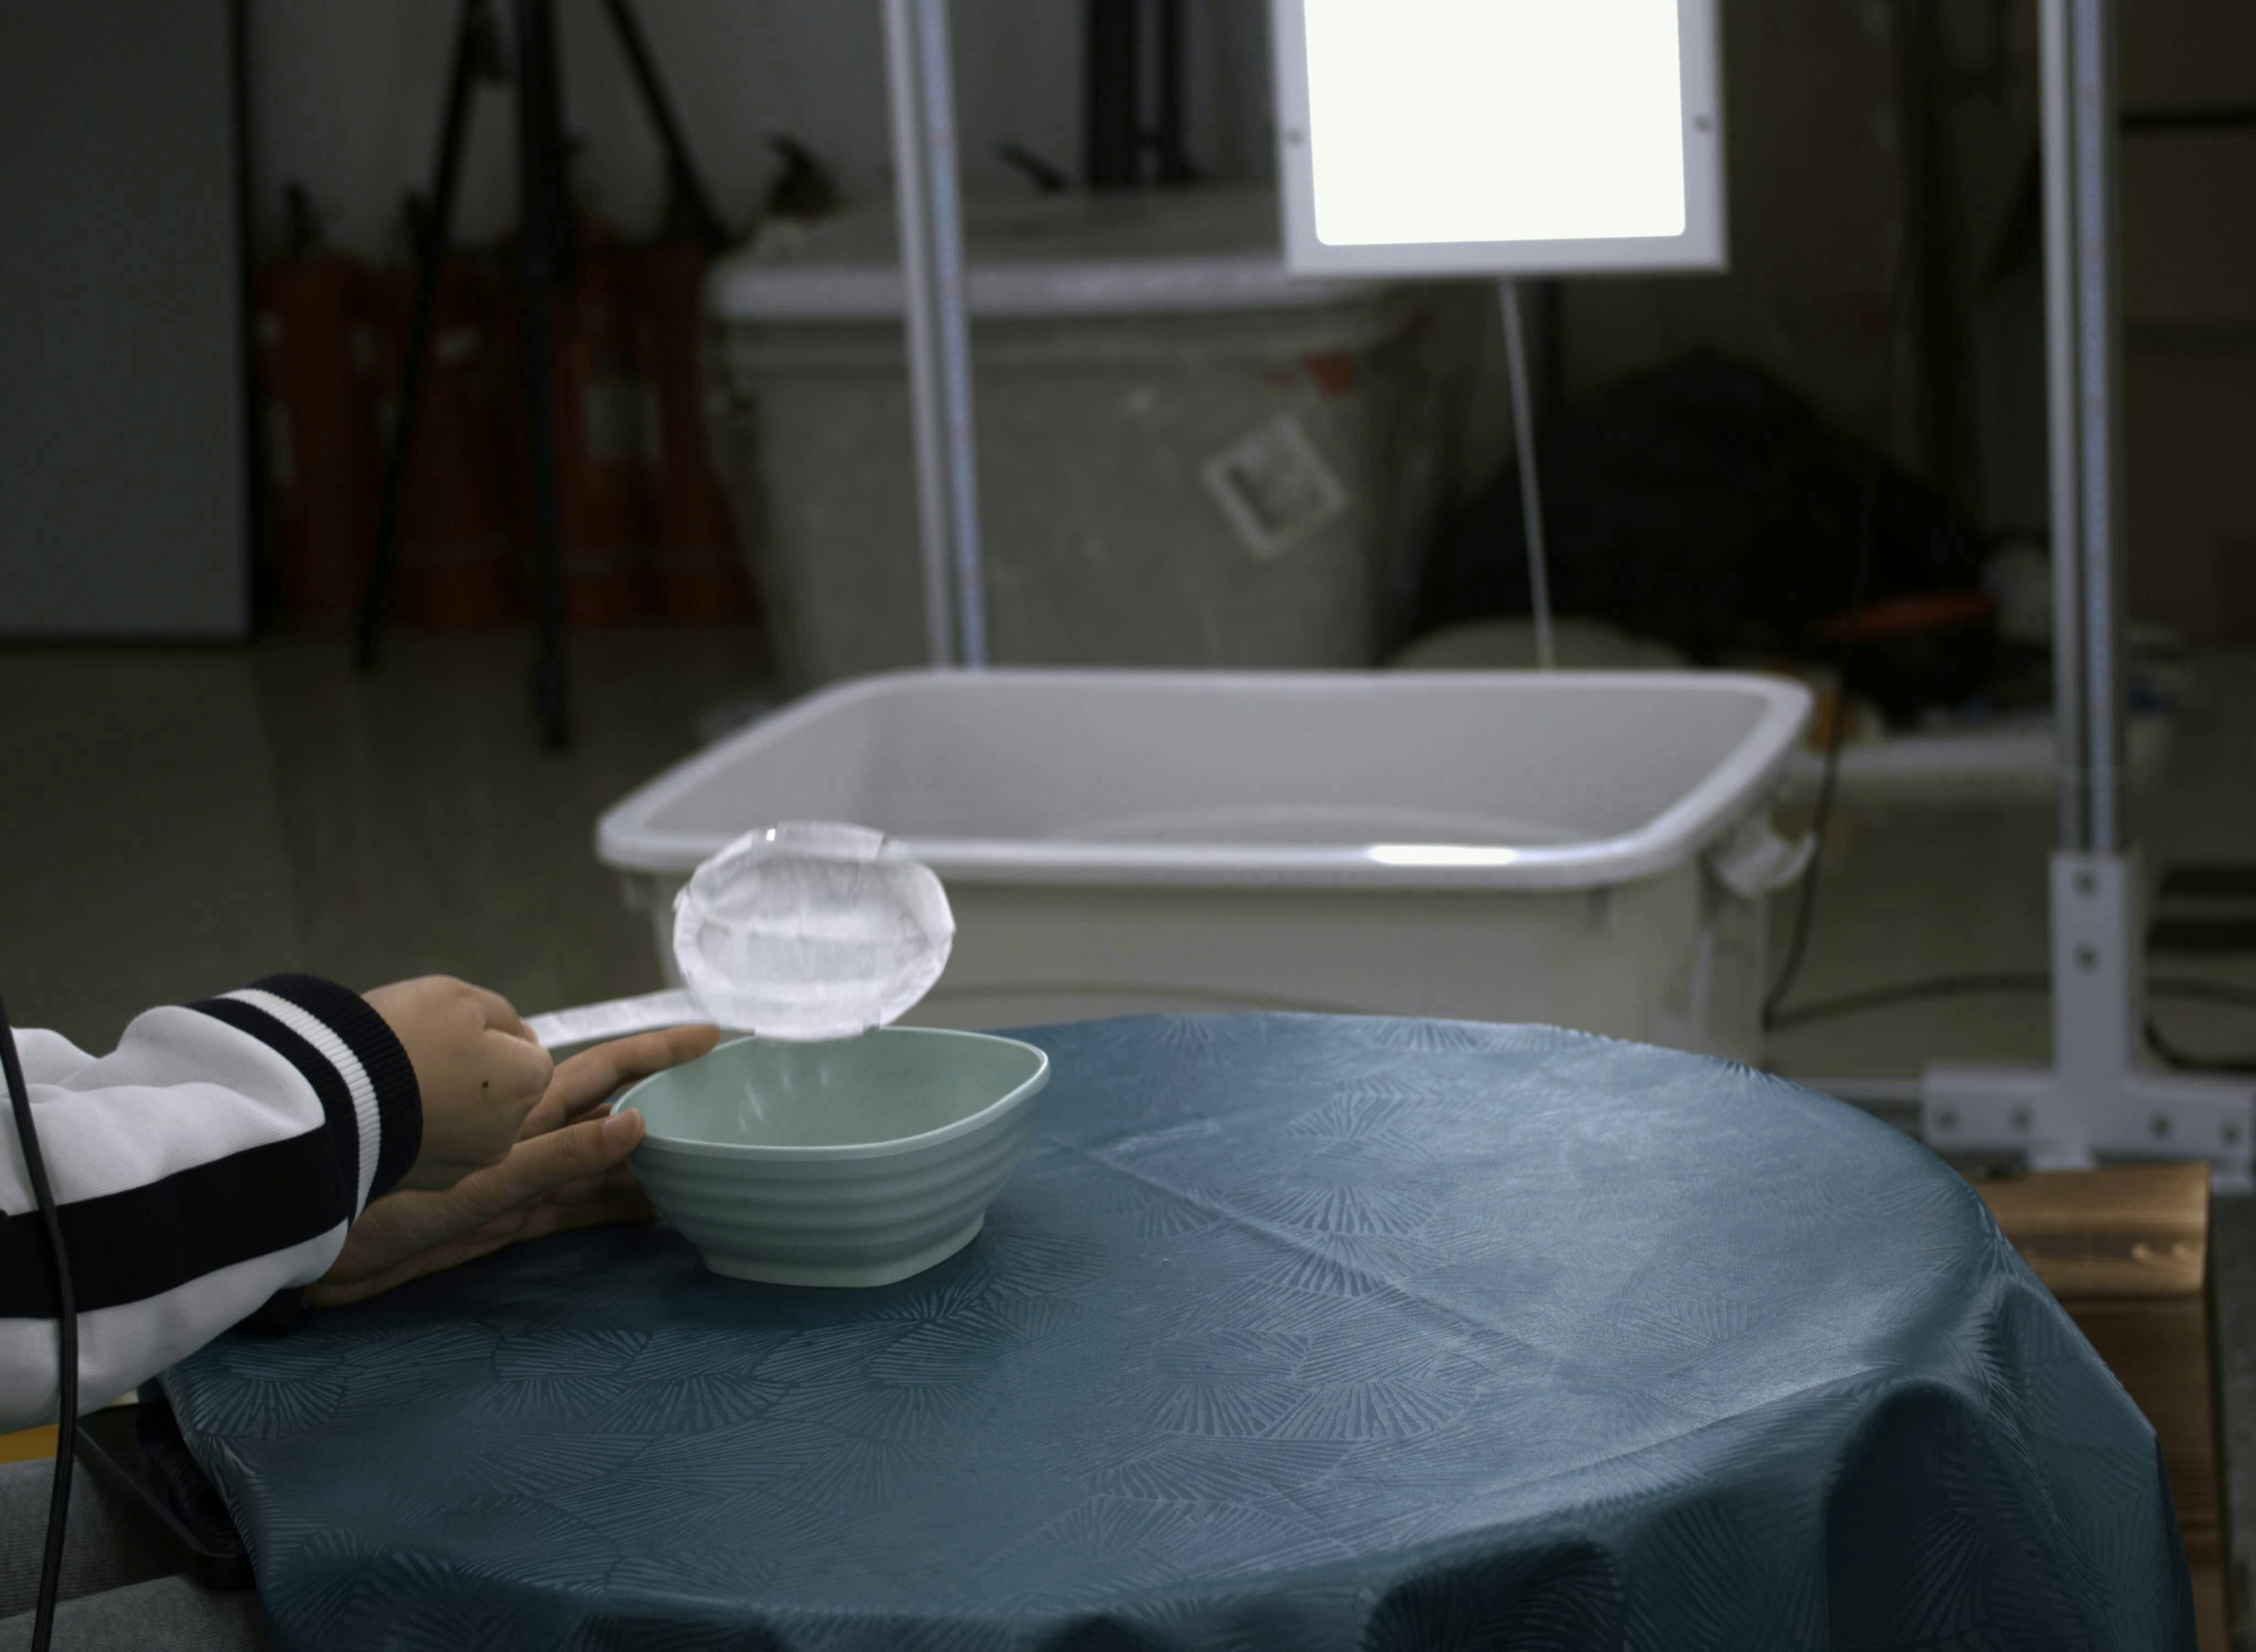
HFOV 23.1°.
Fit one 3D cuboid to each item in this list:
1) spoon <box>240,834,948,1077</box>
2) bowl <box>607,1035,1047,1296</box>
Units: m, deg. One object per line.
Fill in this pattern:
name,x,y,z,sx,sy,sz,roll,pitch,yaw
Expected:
spoon,-0.172,0.040,1.767,0.102,0.060,0.270,37,25,34
bowl,-0.099,0.117,1.861,0.151,0.059,0.151,-5,13,0
